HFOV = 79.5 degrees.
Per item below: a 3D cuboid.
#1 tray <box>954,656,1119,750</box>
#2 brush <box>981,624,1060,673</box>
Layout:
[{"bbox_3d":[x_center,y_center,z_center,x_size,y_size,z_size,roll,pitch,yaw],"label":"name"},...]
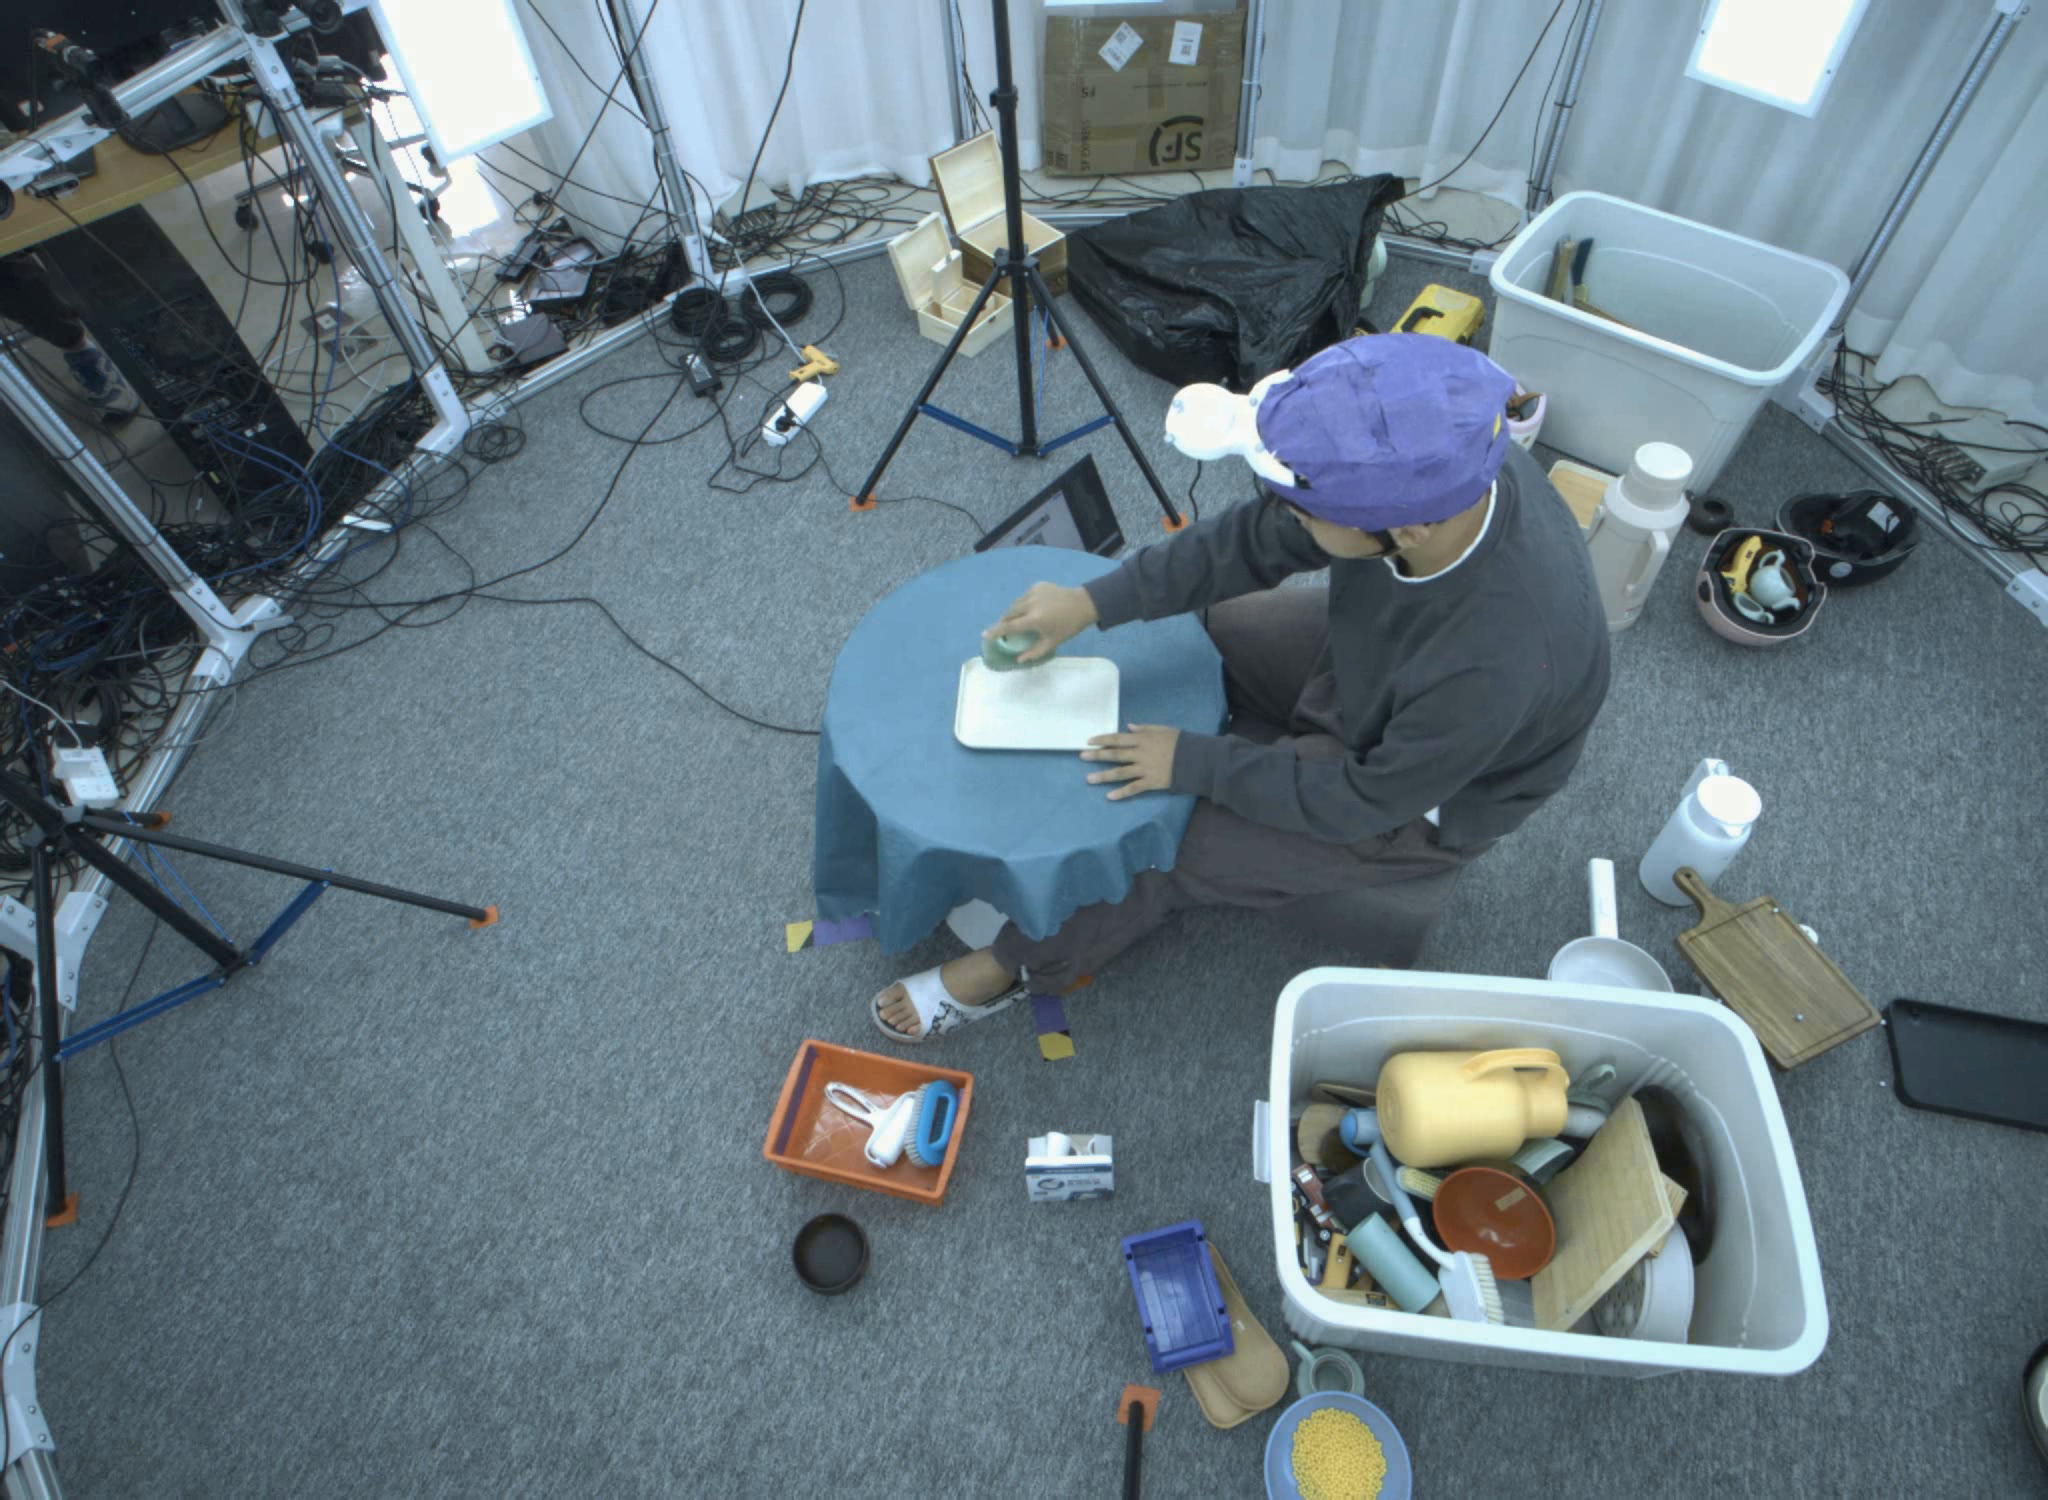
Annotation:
[{"bbox_3d":[0.020,-0.070,1.825,0.239,0.017,0.170,2,55,2],"label":"tray"},{"bbox_3d":[-0.005,-0.150,1.802,0.125,0.075,0.059,-8,72,-33],"label":"brush"}]
